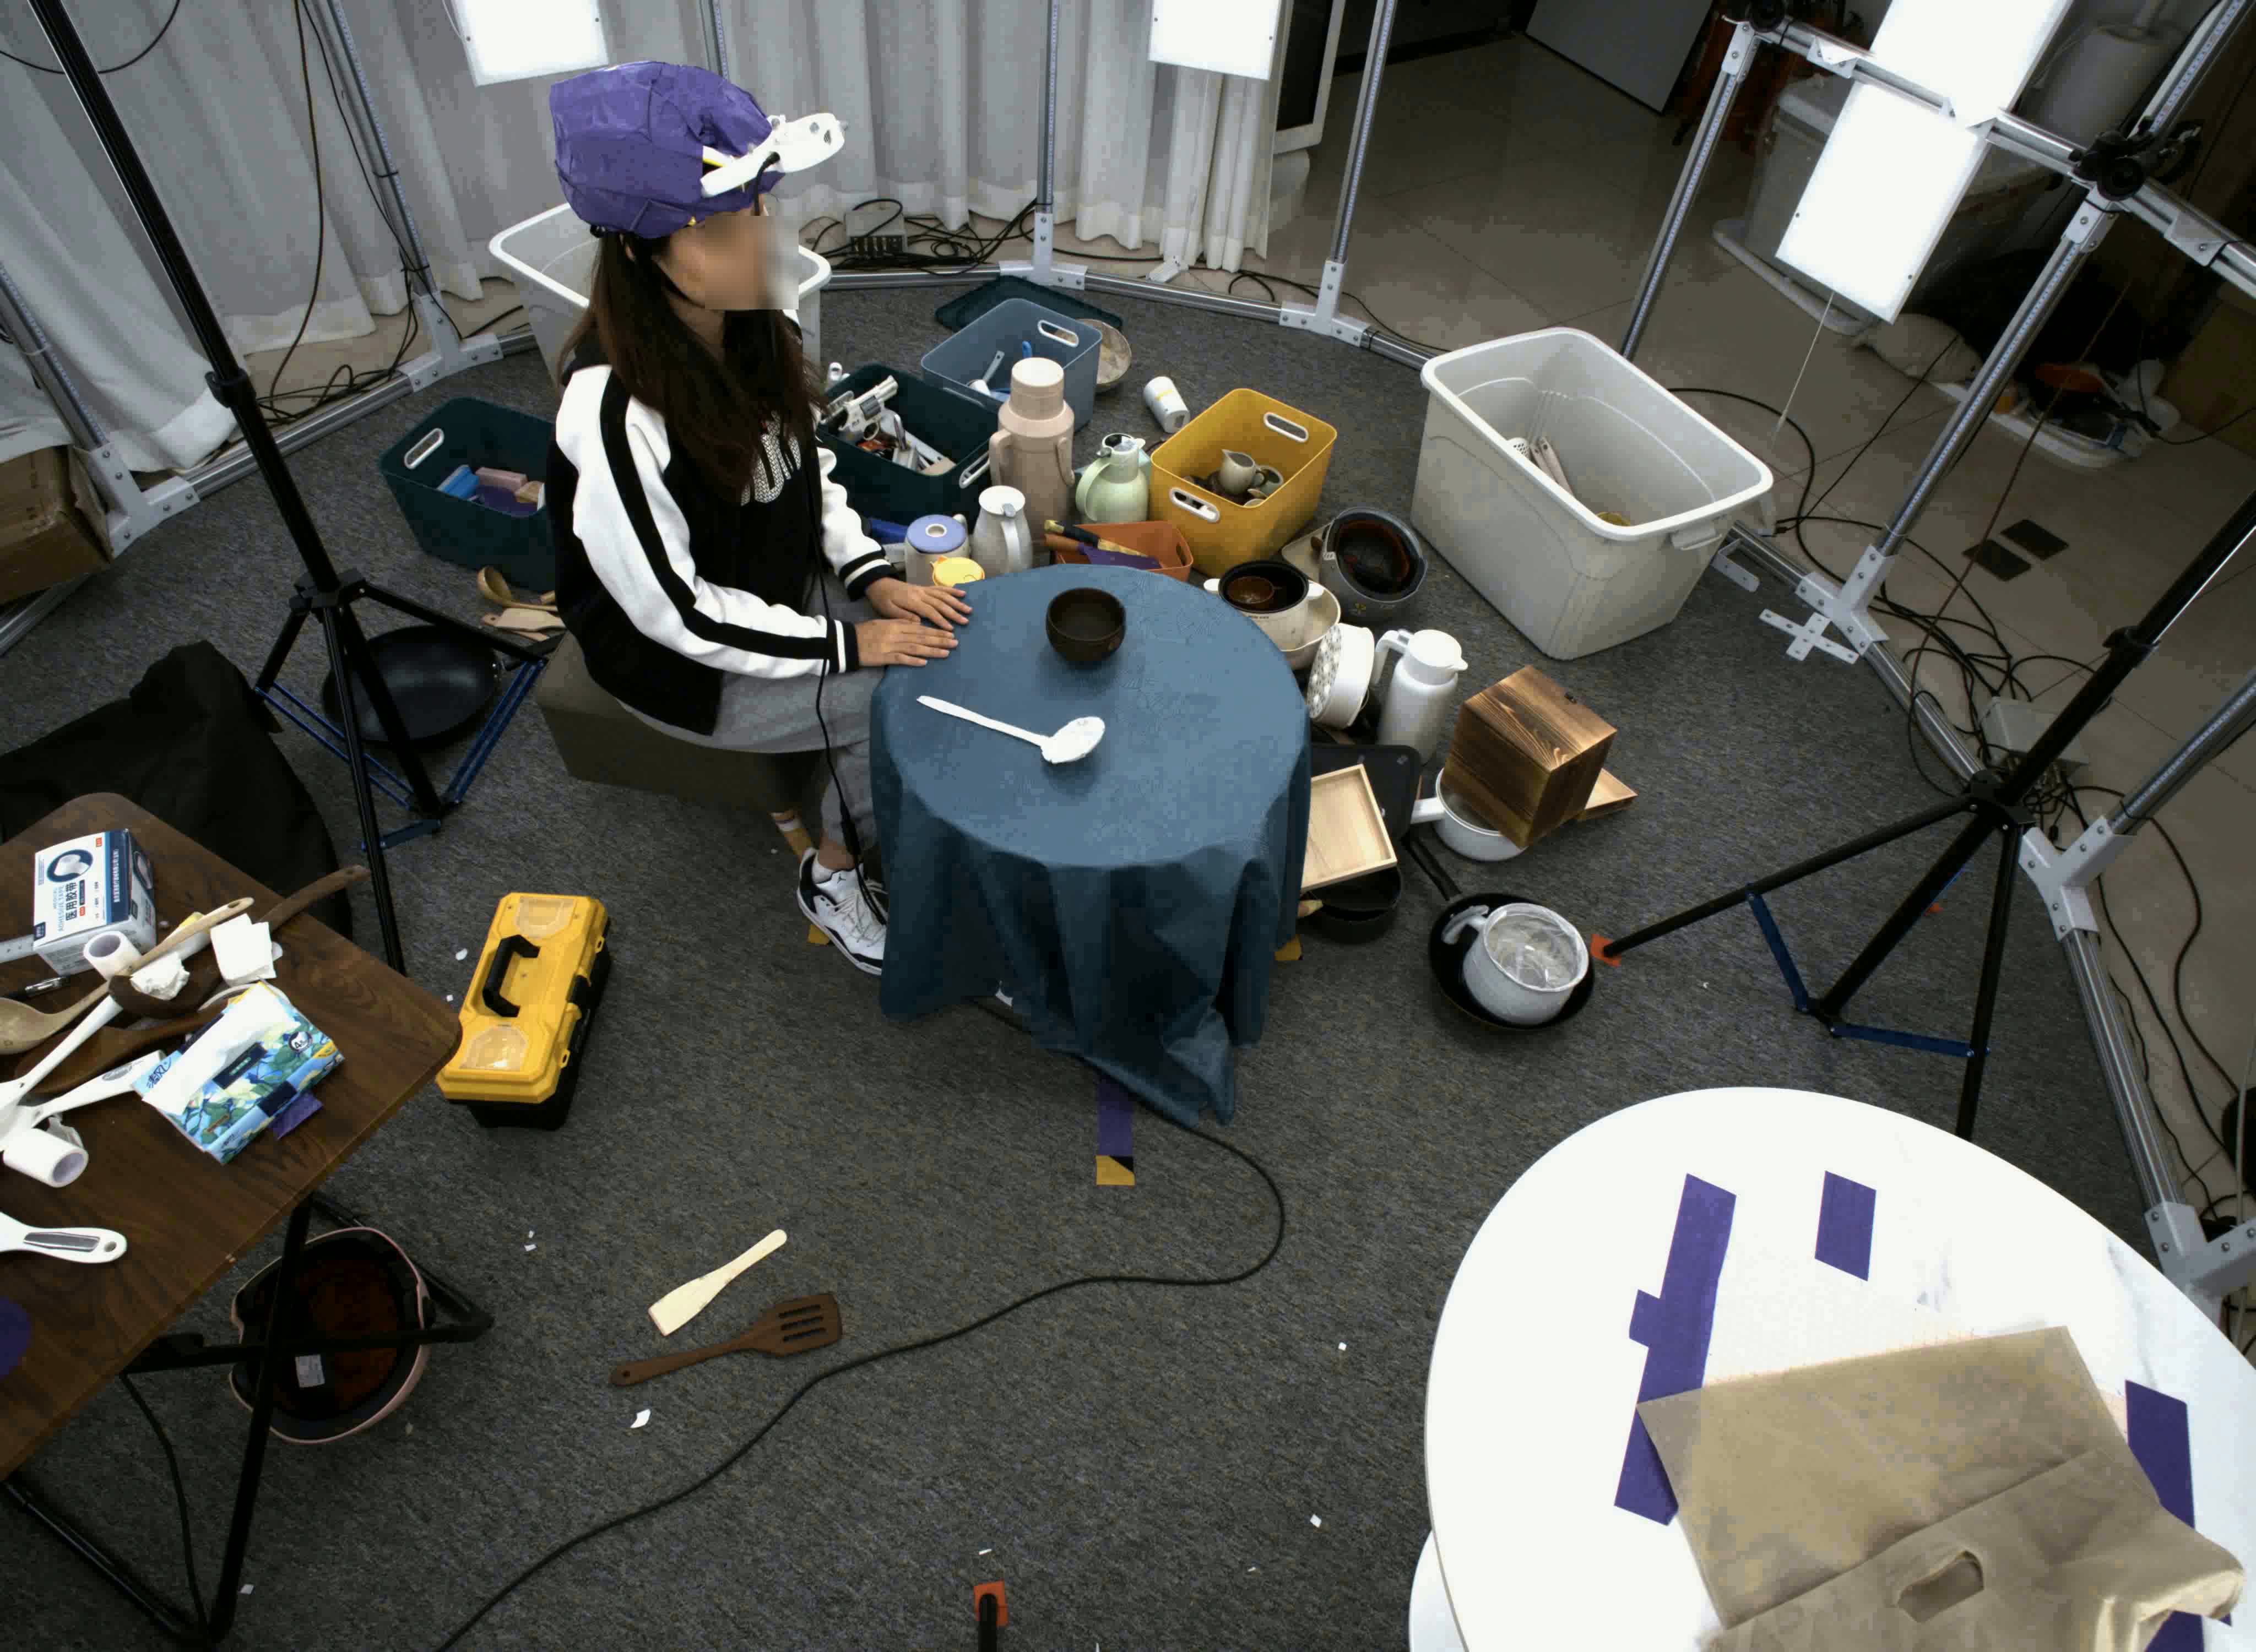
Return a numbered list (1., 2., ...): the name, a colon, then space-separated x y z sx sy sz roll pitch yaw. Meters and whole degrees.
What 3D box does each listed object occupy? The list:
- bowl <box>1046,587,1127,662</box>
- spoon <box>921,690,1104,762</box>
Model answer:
1. bowl: -0.061 -0.284 1.865 0.118 0.068 0.121 2 49 -2
2. spoon: -0.162 -0.156 1.757 0.279 0.058 0.102 23 48 15
